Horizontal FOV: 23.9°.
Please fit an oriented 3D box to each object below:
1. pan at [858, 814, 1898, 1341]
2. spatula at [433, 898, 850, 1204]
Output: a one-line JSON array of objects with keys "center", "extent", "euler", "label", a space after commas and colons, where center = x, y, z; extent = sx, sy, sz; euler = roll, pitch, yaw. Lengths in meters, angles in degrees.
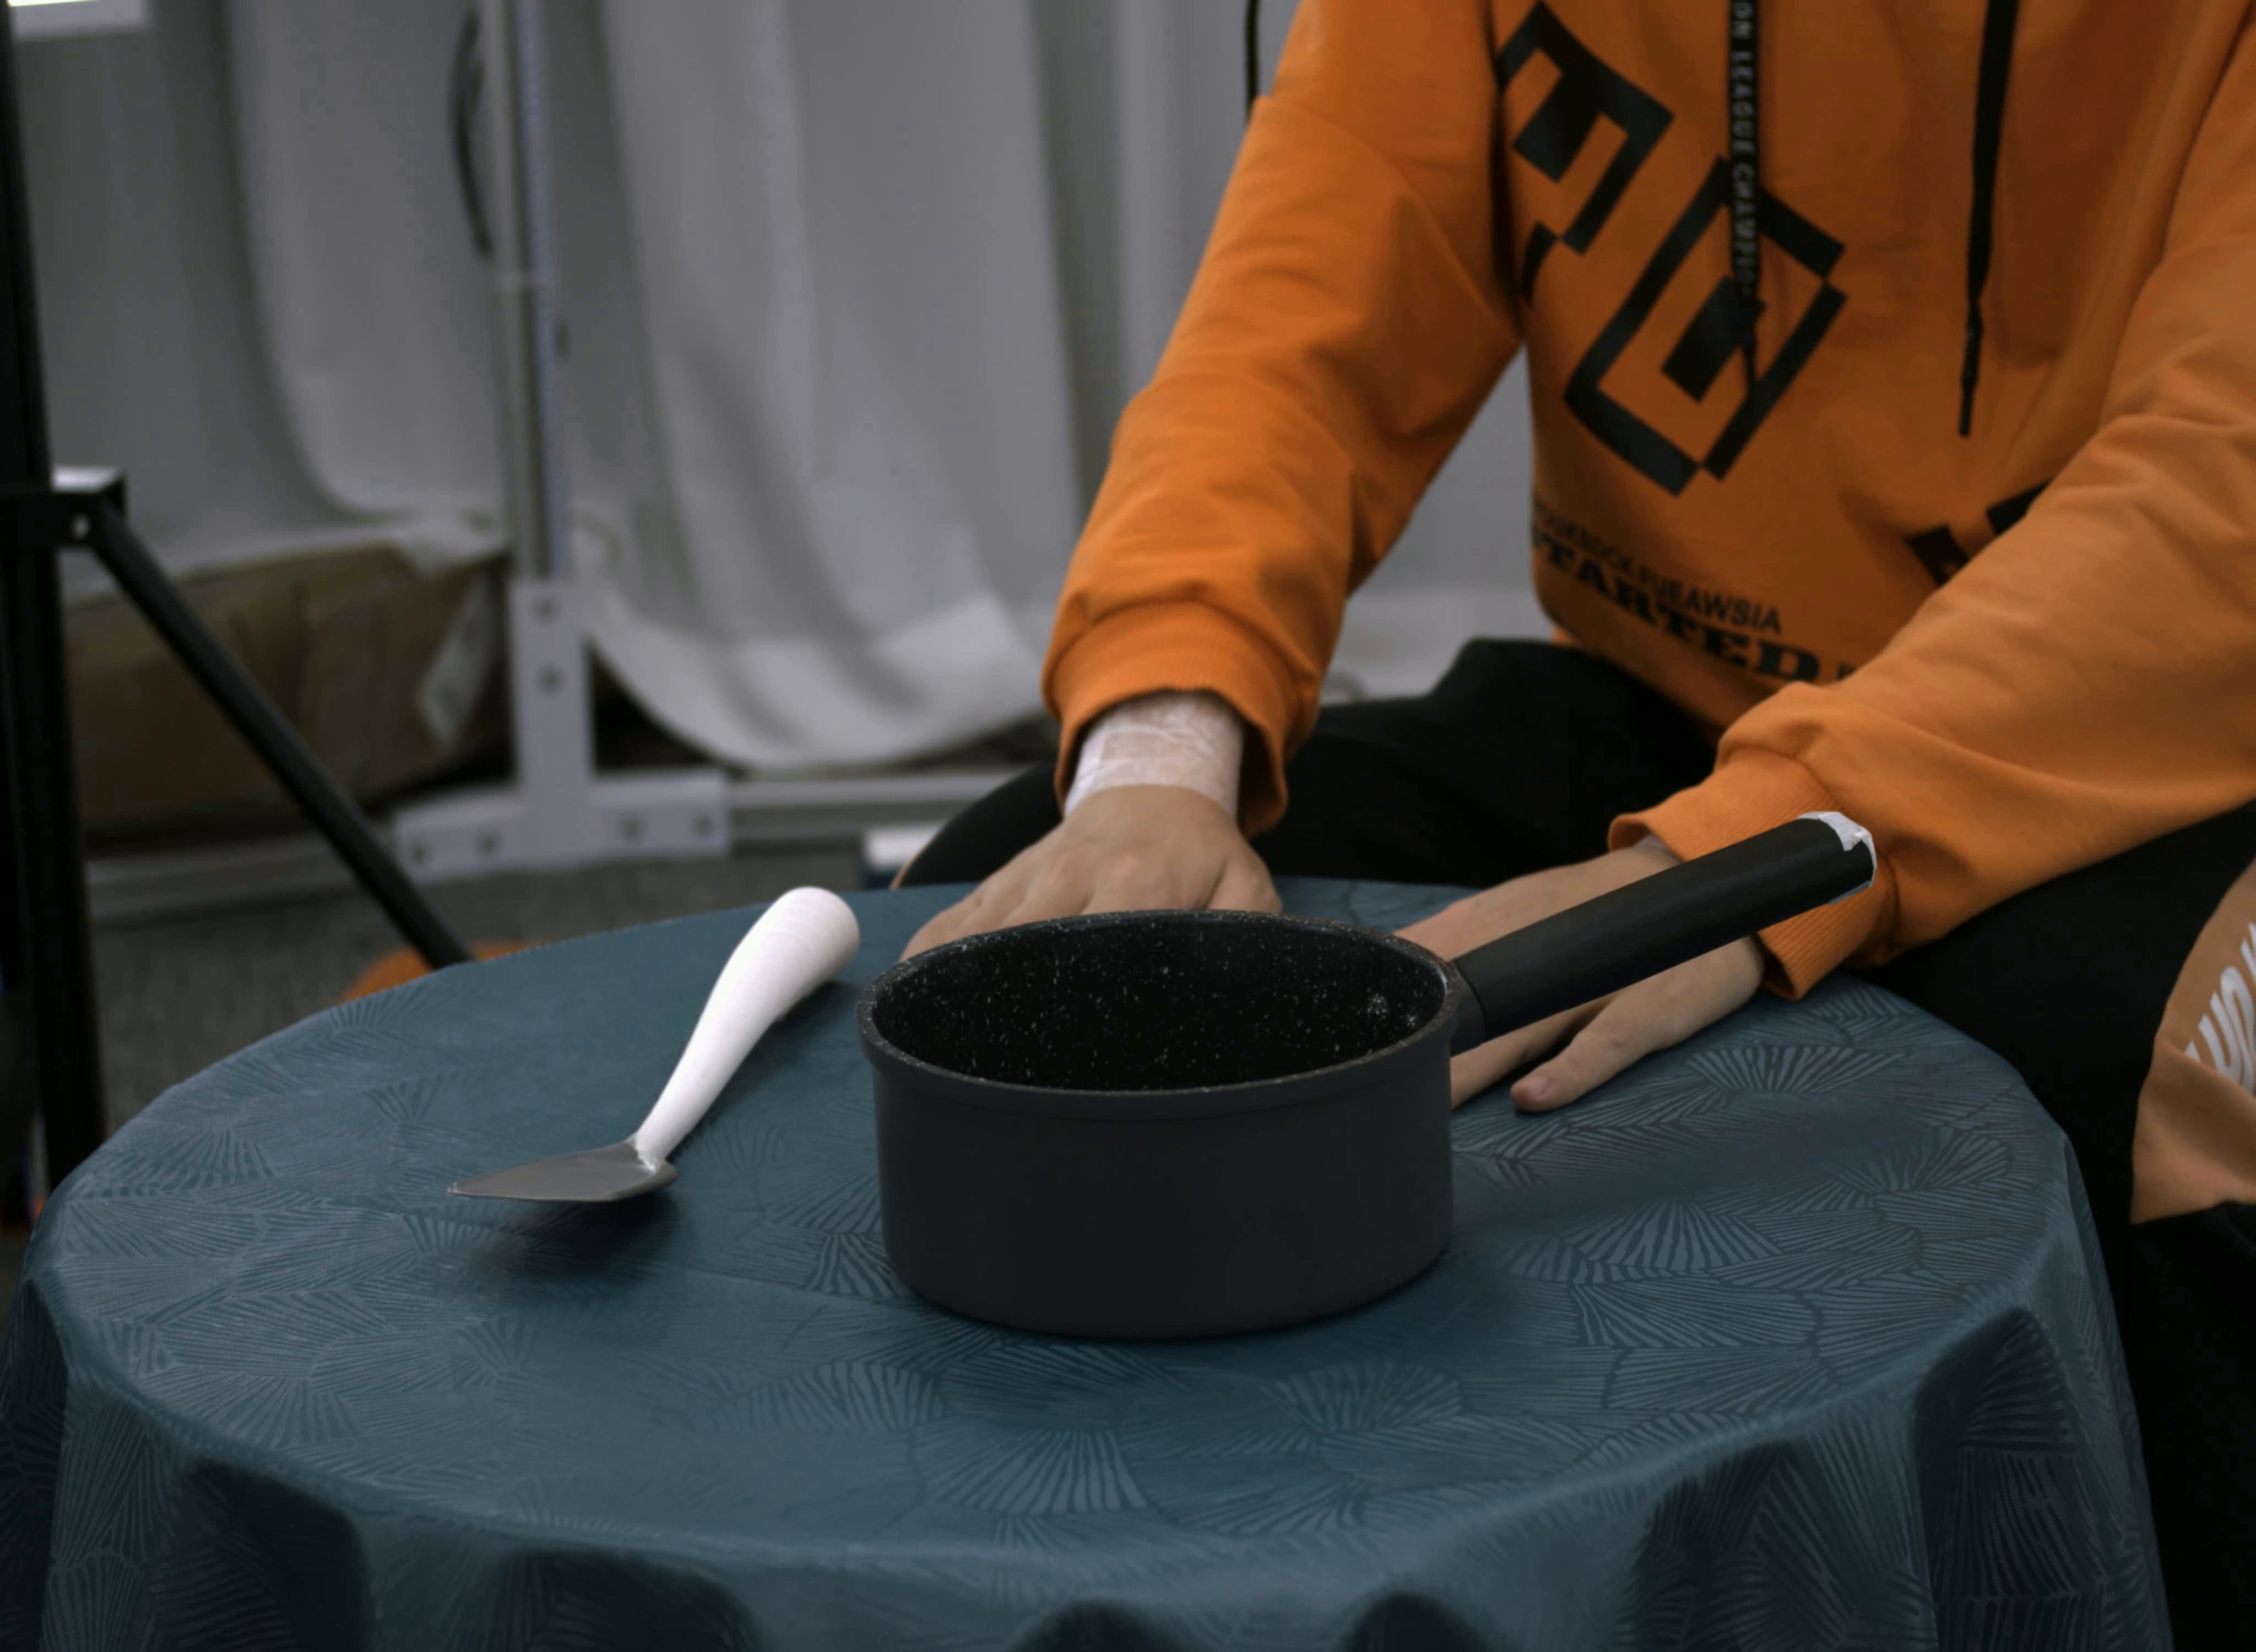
[{"center": [0.080, 0.068, 1.532], "extent": [0.322, 0.086, 0.175], "euler": [-12, 18, -24], "label": "pan"}, {"center": [-0.139, 0.076, 1.636], "extent": [0.059, 0.032, 0.285], "euler": [5, 16, 12], "label": "spatula"}]
